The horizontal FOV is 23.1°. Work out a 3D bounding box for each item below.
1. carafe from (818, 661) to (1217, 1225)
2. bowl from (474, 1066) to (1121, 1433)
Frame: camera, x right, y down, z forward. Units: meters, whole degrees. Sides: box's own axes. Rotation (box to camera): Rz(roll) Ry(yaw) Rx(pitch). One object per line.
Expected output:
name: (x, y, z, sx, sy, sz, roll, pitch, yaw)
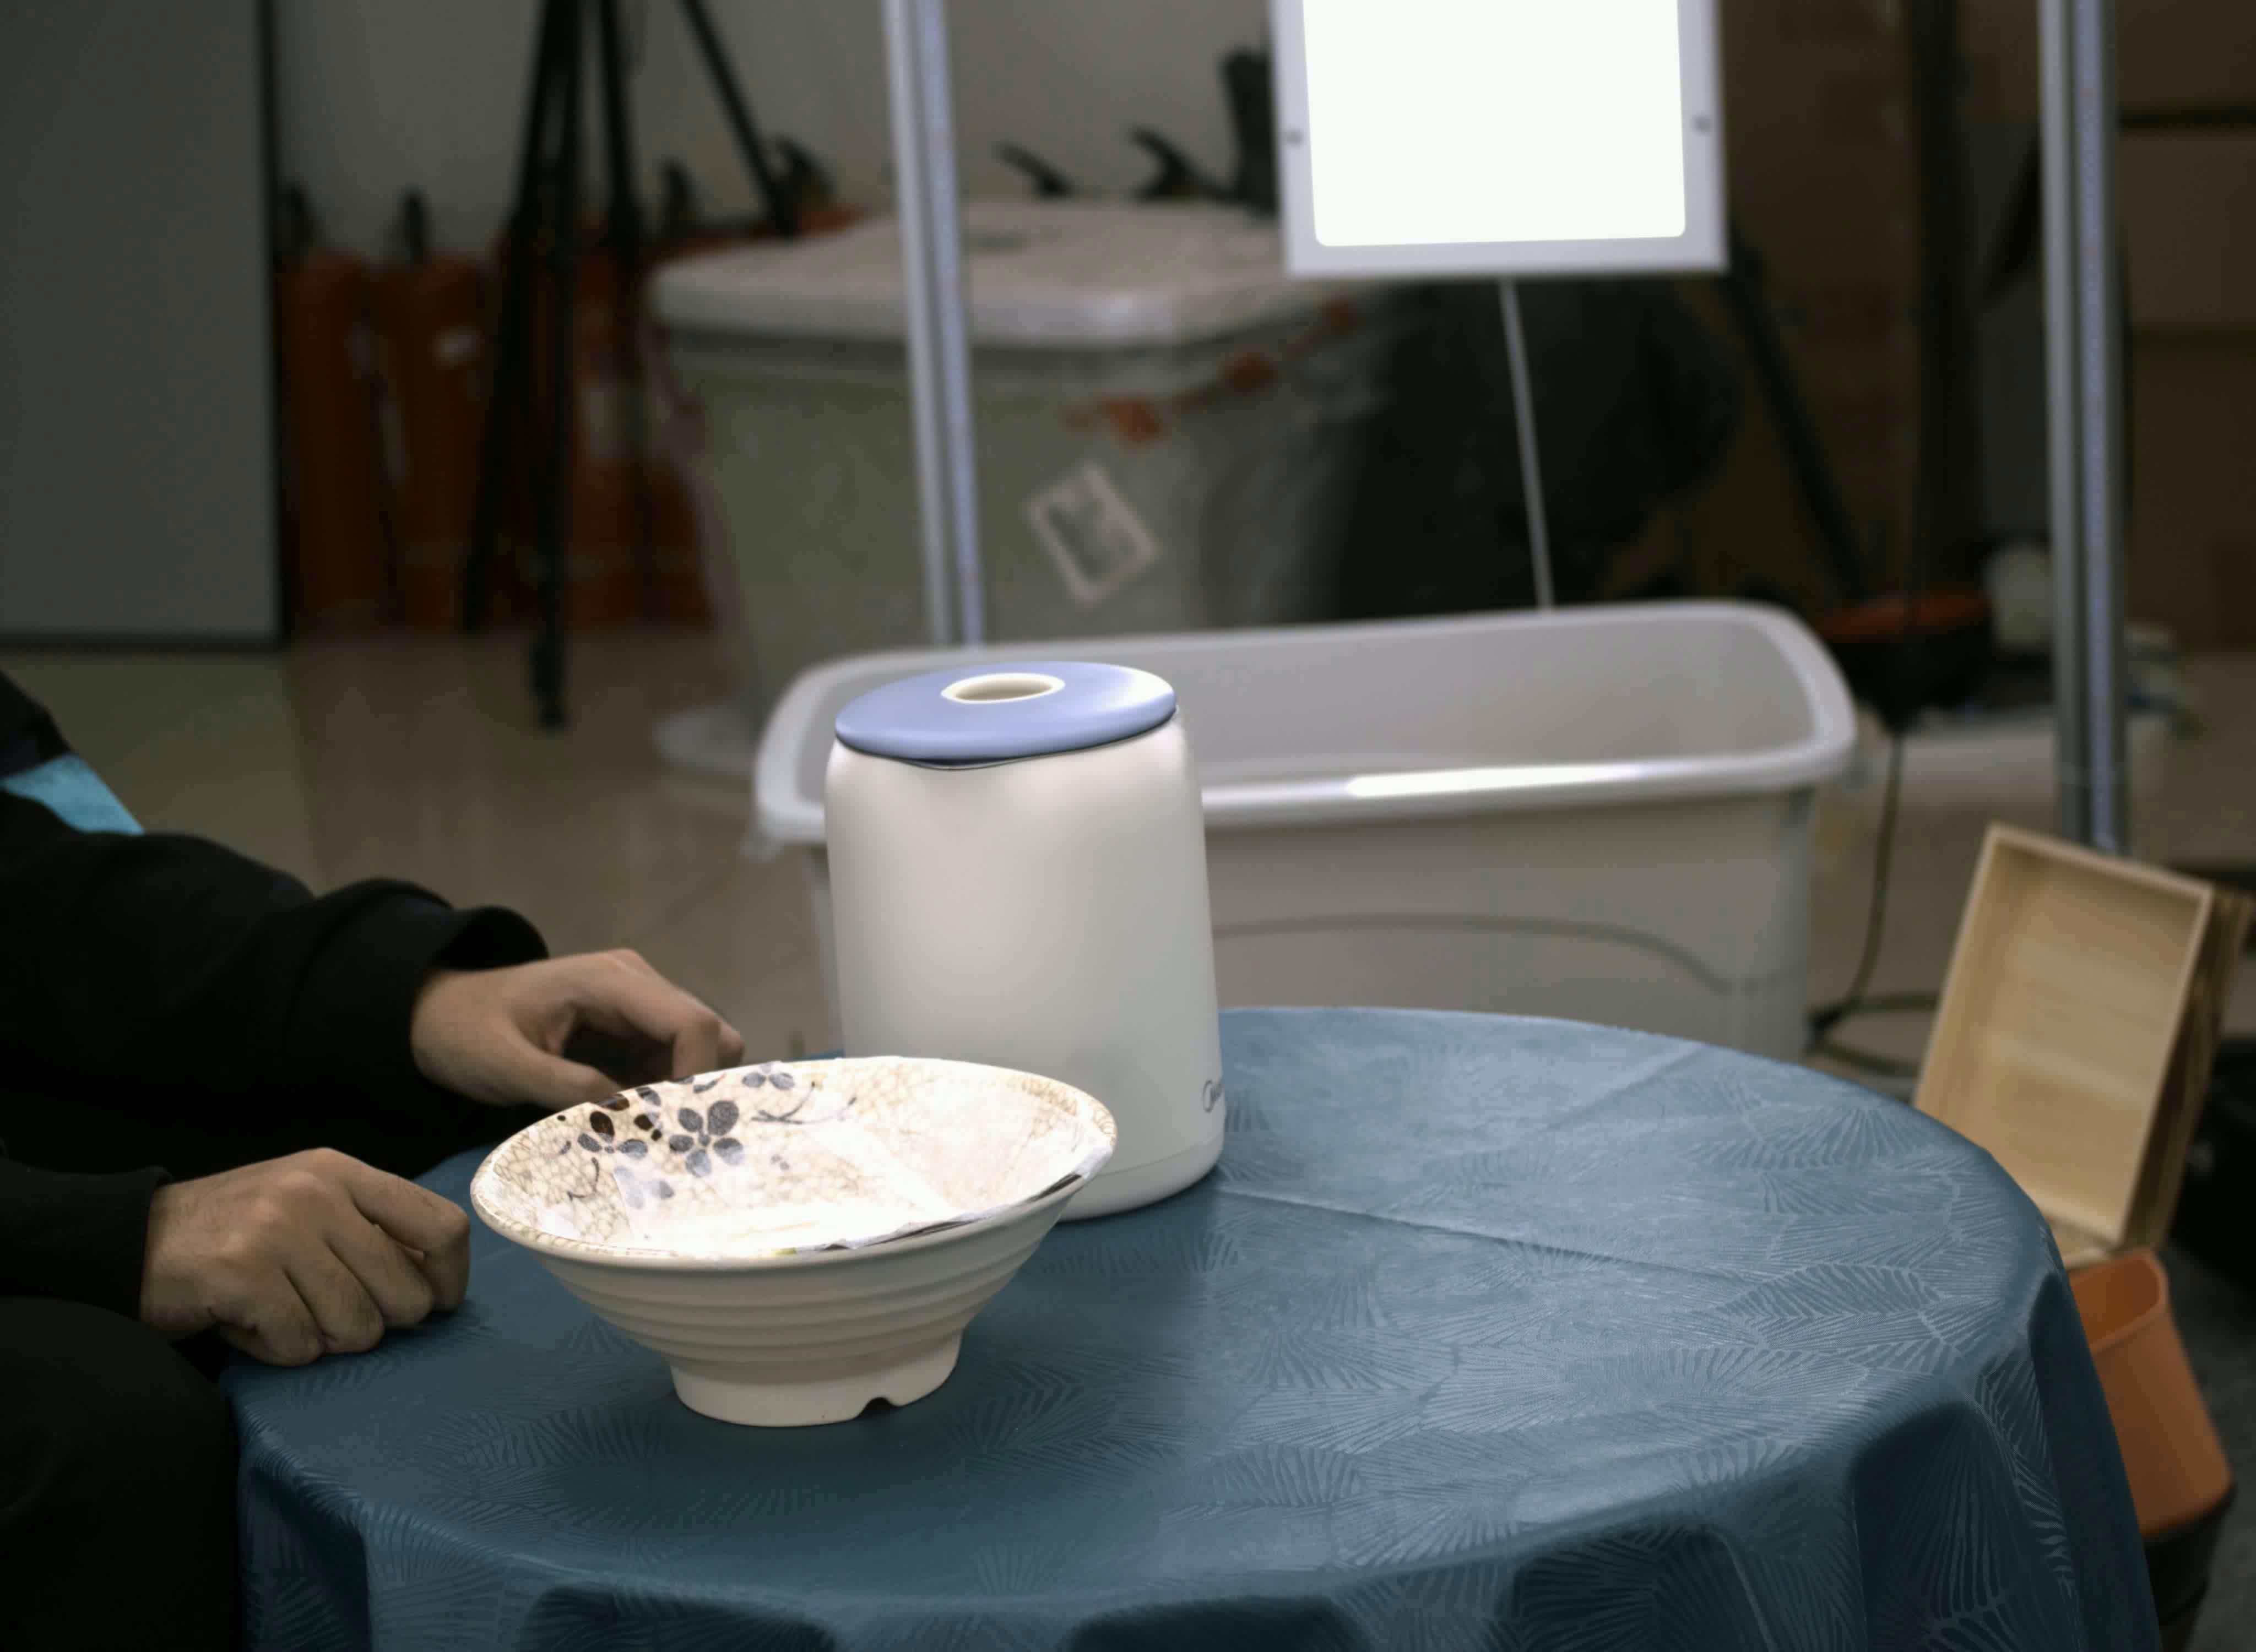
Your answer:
carafe: (-0.033, 0.034, 1.926, 0.133, 0.183, 0.188, 0, 12, 14)
bowl: (-0.098, 0.139, 1.725, 0.203, 0.078, 0.204, -8, 12, 0)
